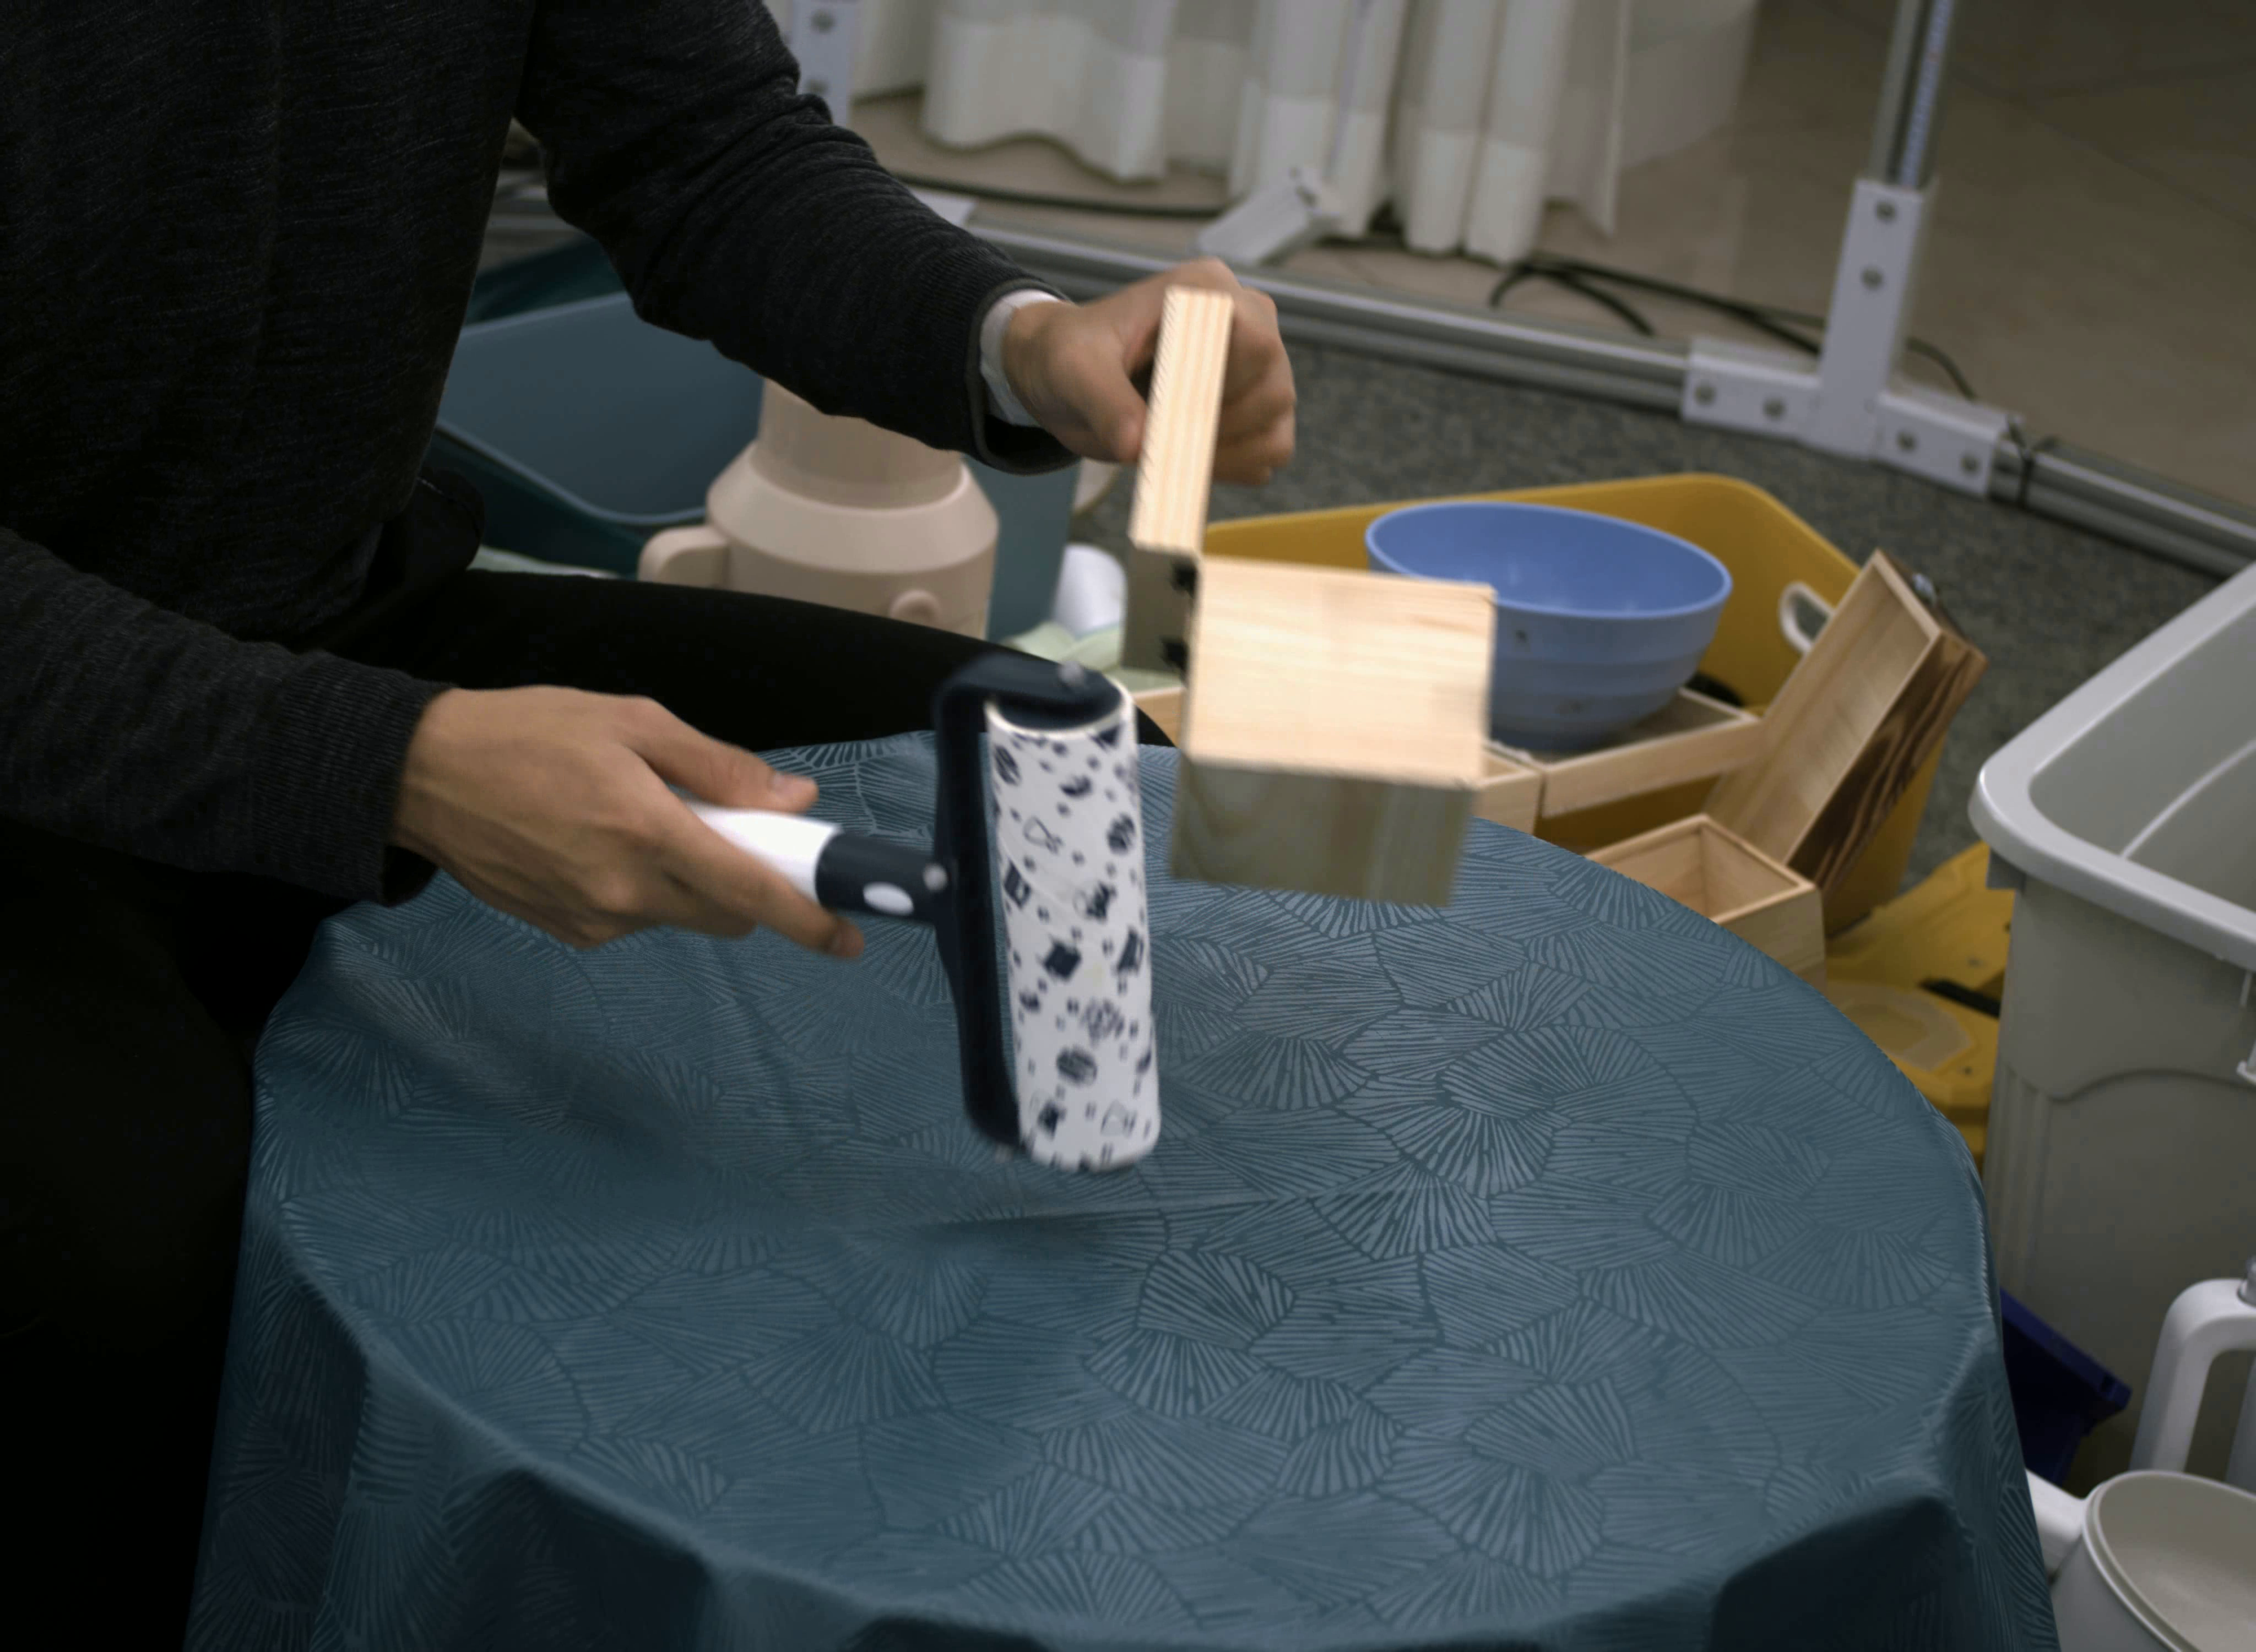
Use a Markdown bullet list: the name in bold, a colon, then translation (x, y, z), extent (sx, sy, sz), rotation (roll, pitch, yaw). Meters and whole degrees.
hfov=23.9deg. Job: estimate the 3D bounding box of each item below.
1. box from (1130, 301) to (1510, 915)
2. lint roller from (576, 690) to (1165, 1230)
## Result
- **box**: translation (0.068, -0.077, 1.862), extent (0.133, 0.102, 0.186), rotation (5, 65, -1)
- **lint roller**: translation (-0.097, 0.014, 1.778), extent (0.248, 0.176, 0.050), rotation (23, 28, 32)
